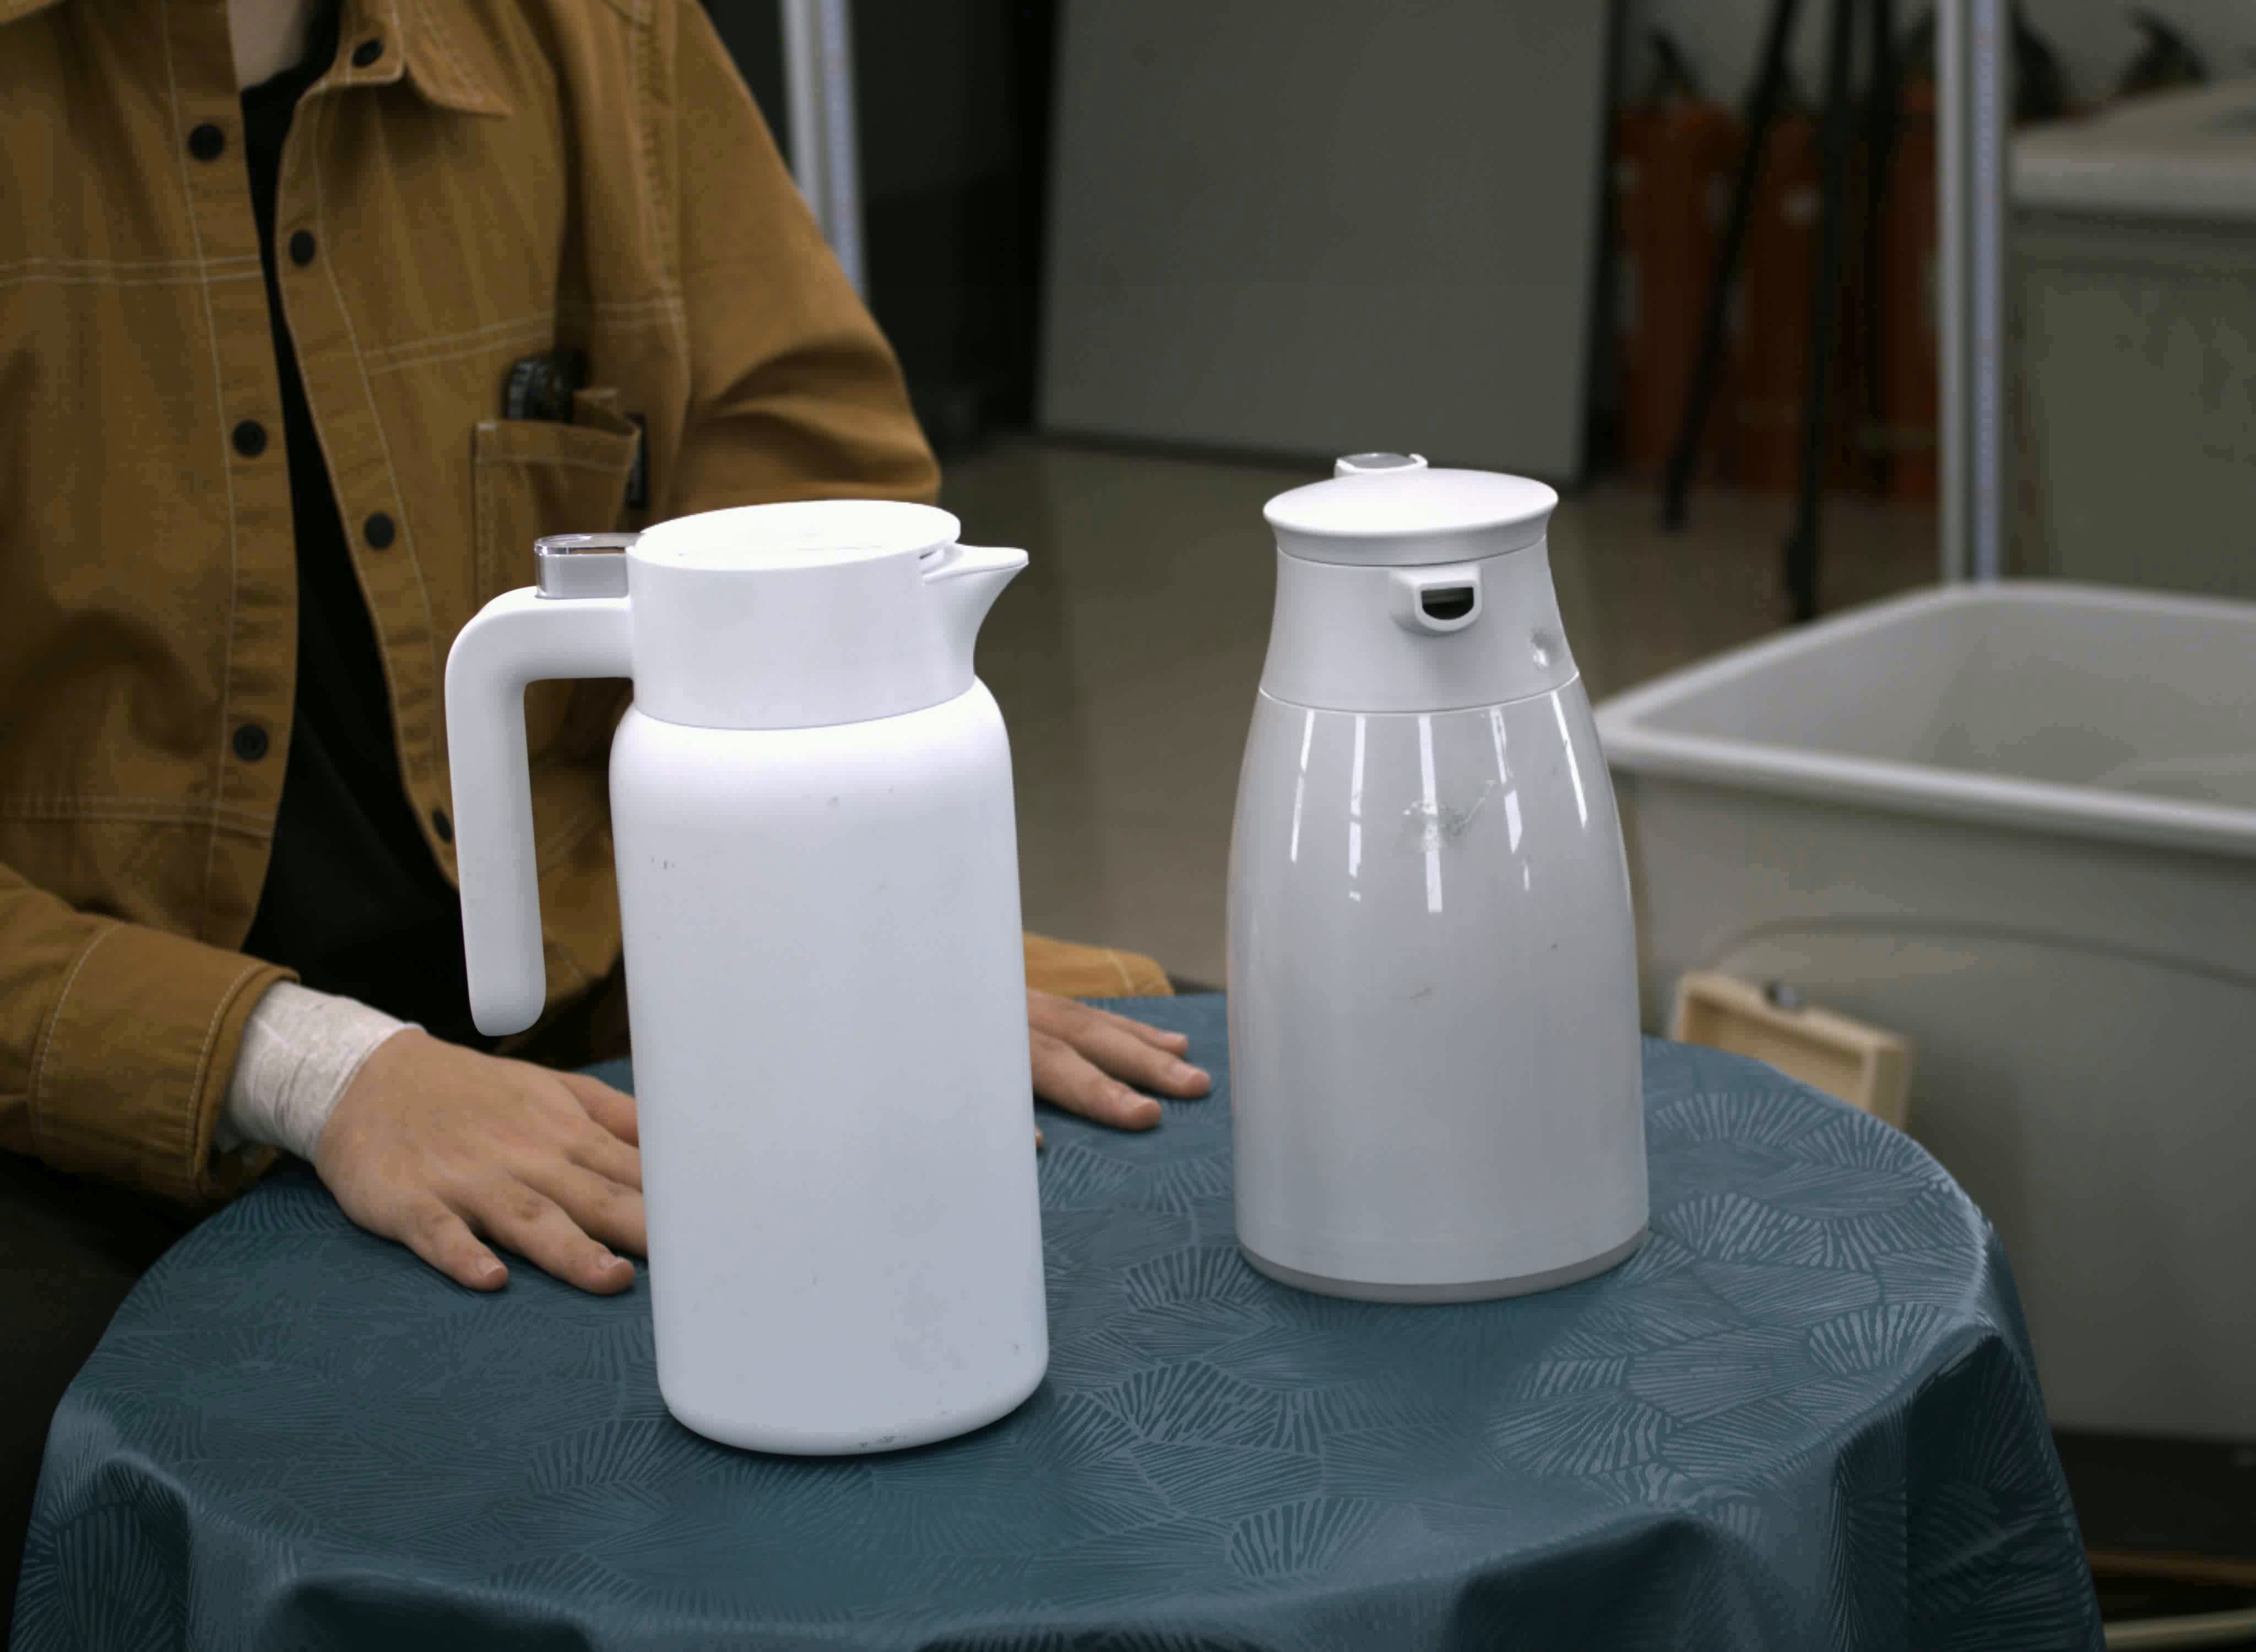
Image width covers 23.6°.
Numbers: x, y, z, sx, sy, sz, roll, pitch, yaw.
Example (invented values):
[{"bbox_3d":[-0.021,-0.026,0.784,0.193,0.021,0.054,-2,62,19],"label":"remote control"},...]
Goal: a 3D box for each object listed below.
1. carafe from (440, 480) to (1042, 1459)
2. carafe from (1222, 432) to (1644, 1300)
[{"bbox_3d":[-0.107,0.041,1.569,0.171,0.272,0.123,-2,15,7],"label":"carafe"},{"bbox_3d":[0.088,0.005,1.696,0.130,0.251,0.168,-5,12,-6],"label":"carafe"}]
